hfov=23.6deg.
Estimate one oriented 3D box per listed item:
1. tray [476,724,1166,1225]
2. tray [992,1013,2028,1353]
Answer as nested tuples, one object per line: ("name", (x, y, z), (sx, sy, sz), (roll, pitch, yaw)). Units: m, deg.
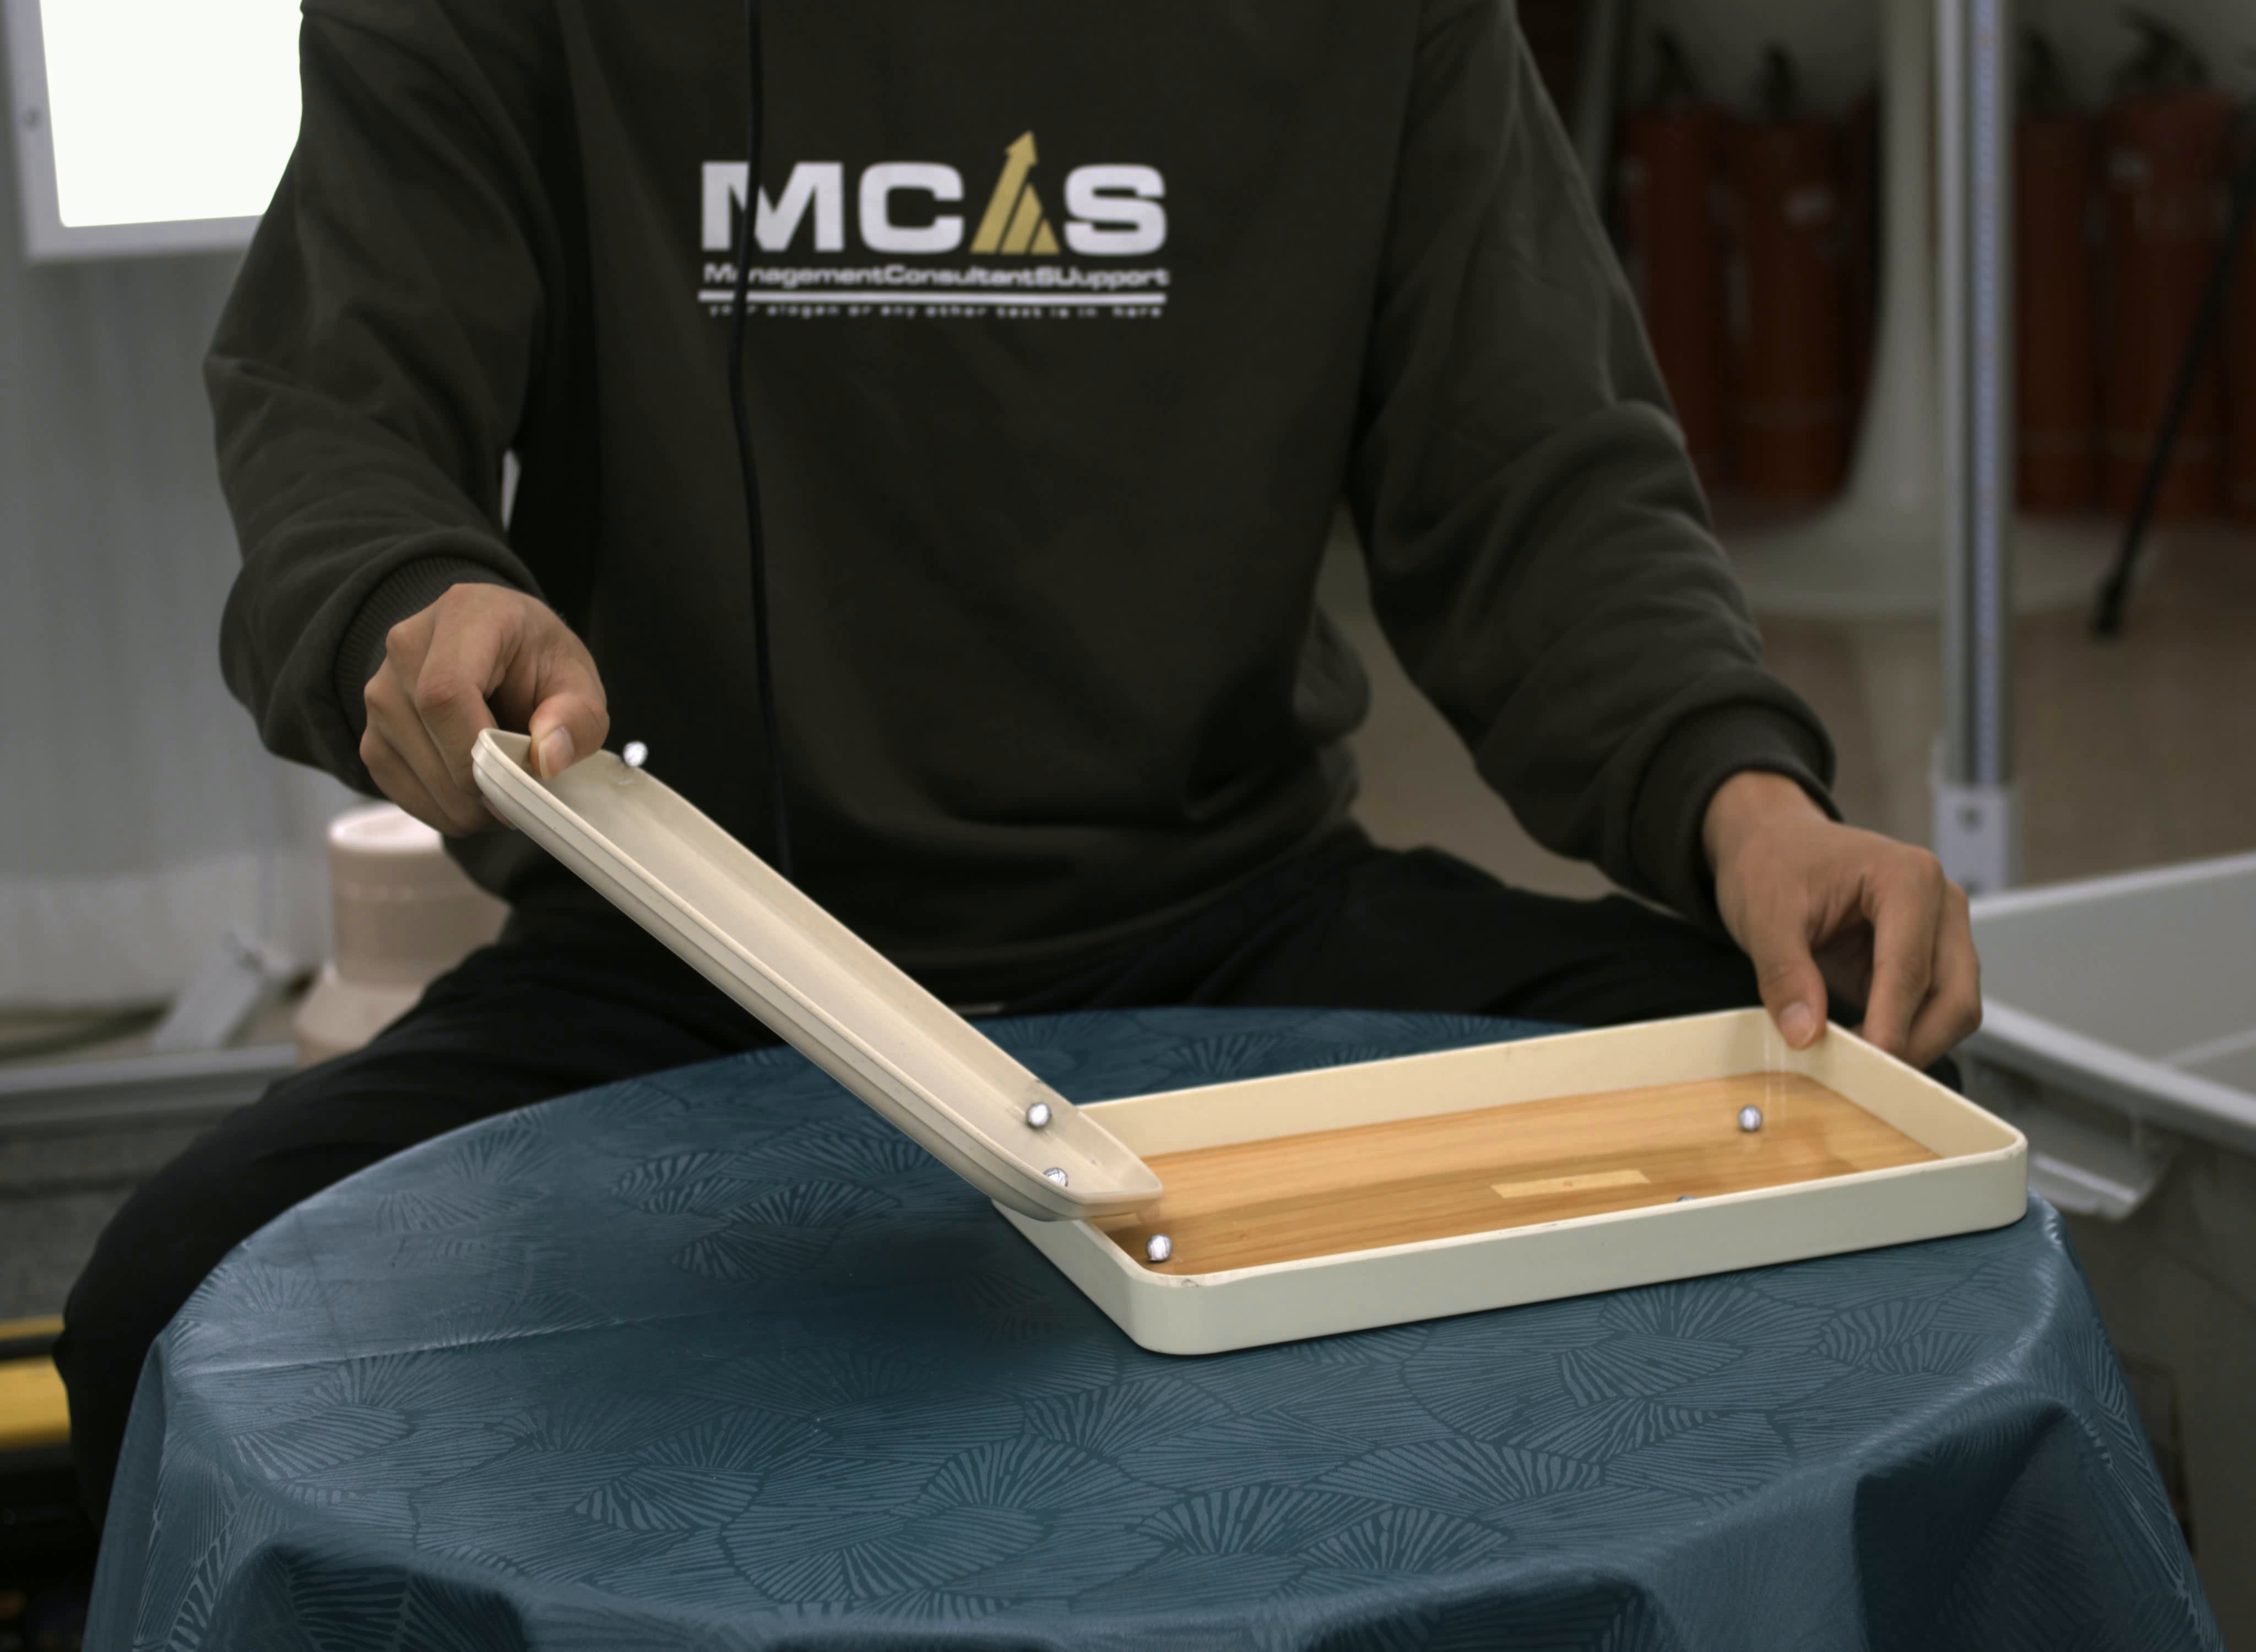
("tray", (-0.096, 0.049, 1.679), (0.240, 0.017, 0.170), (38, 5, 13))
("tray", (0.119, 0.112, 1.729), (0.294, 0.028, 0.193), (-7, 13, -16))
